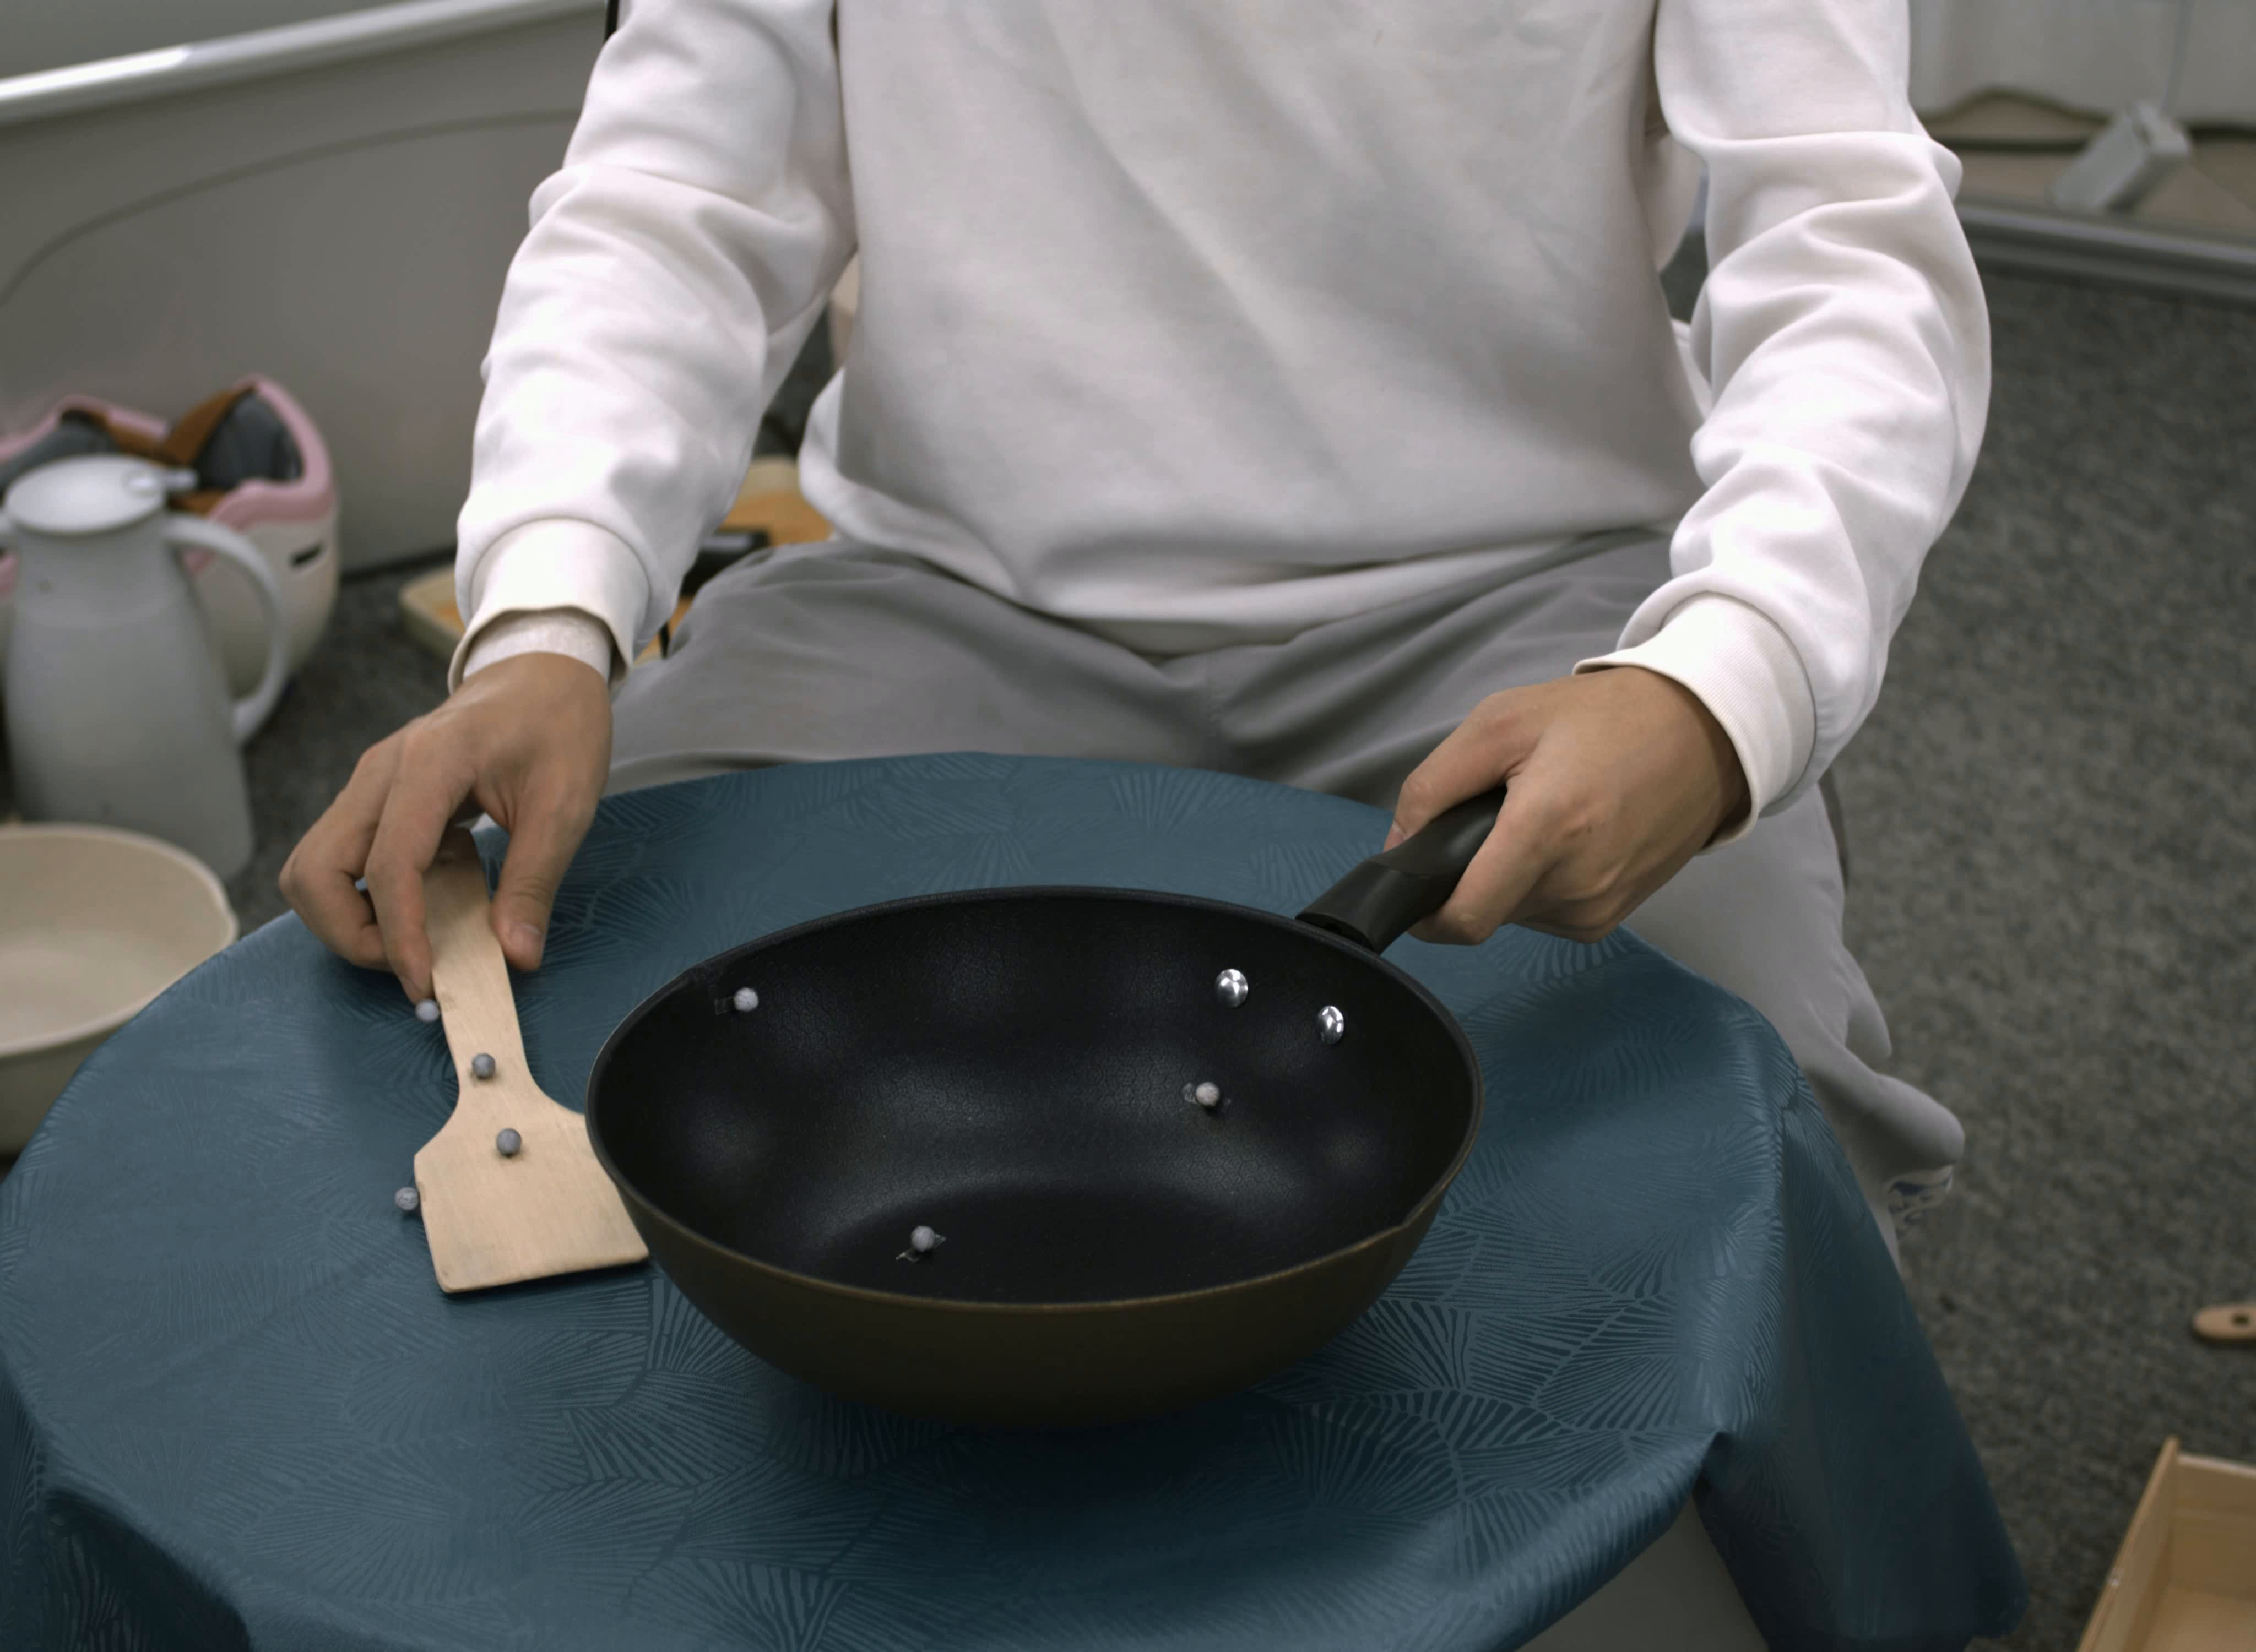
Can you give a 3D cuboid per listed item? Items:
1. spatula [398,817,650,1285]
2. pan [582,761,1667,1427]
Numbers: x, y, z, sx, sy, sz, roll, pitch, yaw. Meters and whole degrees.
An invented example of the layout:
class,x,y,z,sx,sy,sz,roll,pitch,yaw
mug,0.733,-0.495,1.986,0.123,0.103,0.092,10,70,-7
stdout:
class,x,y,z,sx,sy,sz,roll,pitch,yaw
spatula,-0.224,0.073,1.950,0.072,0.010,0.296,-11,32,-9
pan,0.028,0.083,1.830,0.287,0.086,0.469,18,30,35
